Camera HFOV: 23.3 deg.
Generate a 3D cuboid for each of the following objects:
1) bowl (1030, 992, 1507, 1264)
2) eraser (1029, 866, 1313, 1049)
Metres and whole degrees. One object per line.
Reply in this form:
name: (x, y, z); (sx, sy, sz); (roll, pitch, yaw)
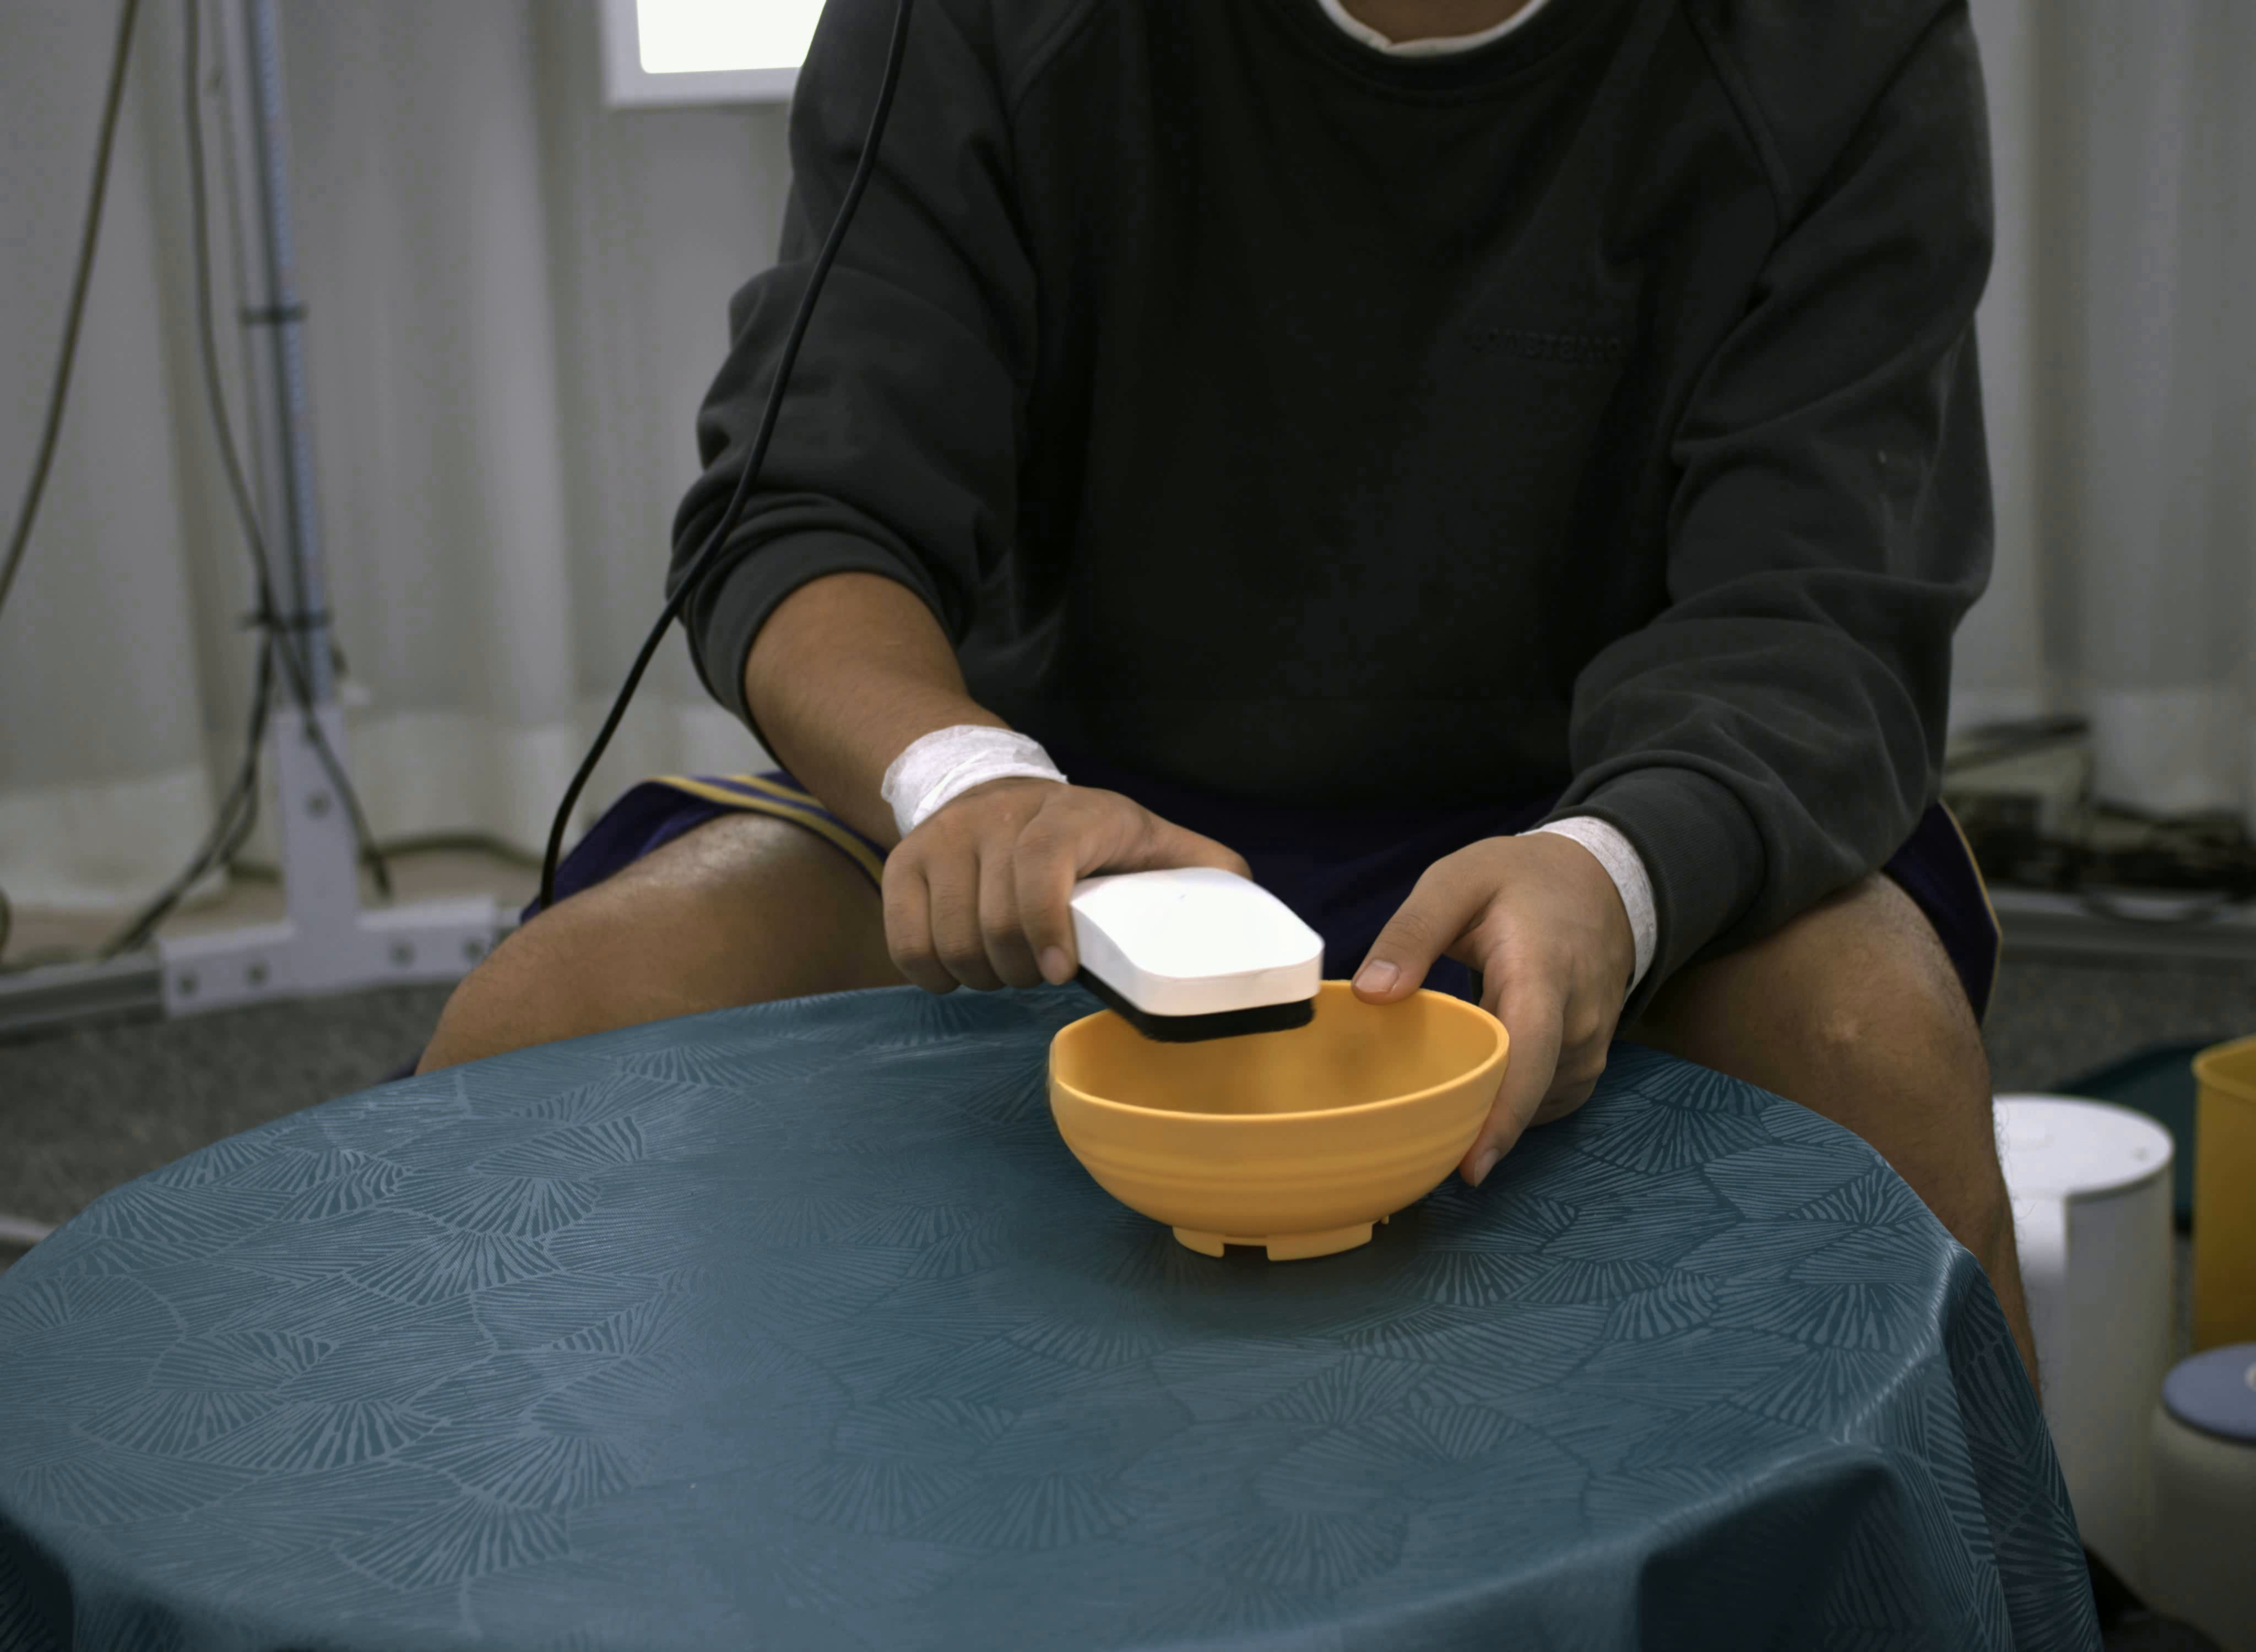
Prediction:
bowl: (0.043, 0.096, 1.668); (0.145, 0.060, 0.146); (-2, 12, 0)
eraser: (0.014, 0.037, 1.722); (0.063, 0.034, 0.132); (-6, 15, -16)
